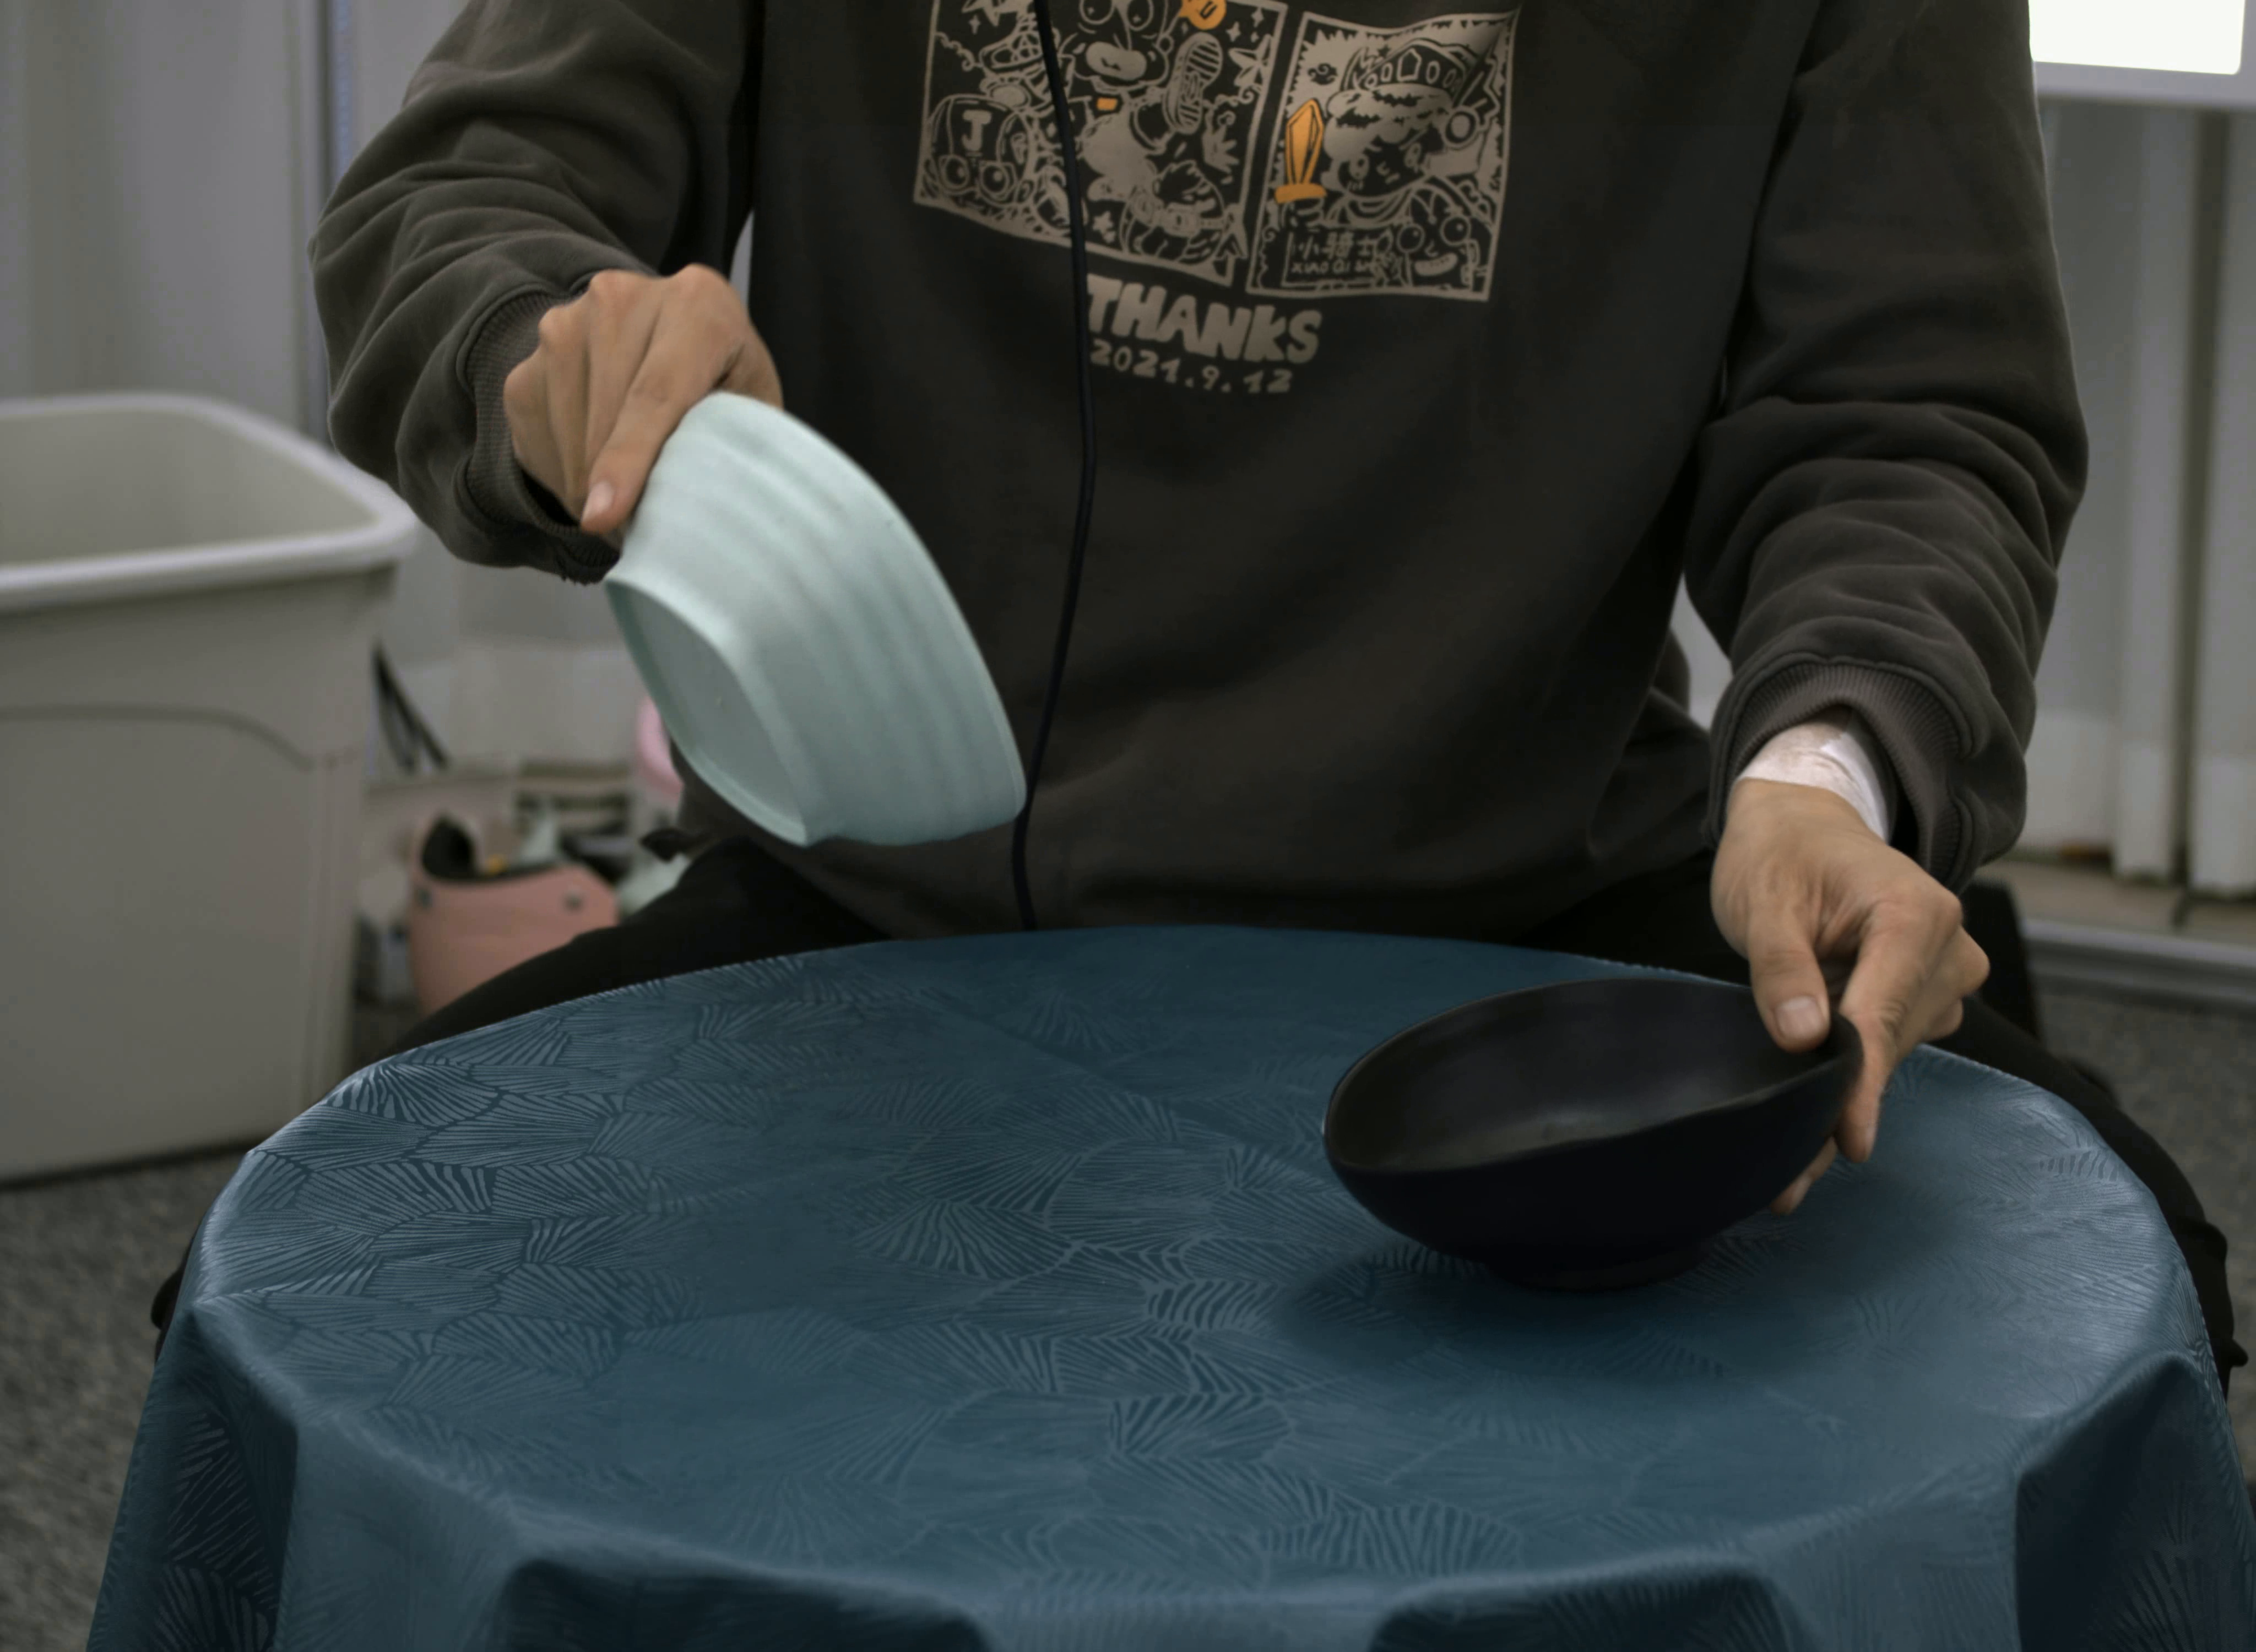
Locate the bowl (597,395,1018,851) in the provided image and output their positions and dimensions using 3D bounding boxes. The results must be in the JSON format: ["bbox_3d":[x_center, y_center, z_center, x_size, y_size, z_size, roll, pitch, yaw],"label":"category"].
[{"bbox_3d":[-0.099,-0.047,1.494,0.058,0.153,0.149,-36,29,-15],"label":"bowl"}]

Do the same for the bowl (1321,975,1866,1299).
[{"bbox_3d":[0.140,0.098,1.560,0.171,0.067,0.135,-14,18,-27],"label":"bowl"}]
